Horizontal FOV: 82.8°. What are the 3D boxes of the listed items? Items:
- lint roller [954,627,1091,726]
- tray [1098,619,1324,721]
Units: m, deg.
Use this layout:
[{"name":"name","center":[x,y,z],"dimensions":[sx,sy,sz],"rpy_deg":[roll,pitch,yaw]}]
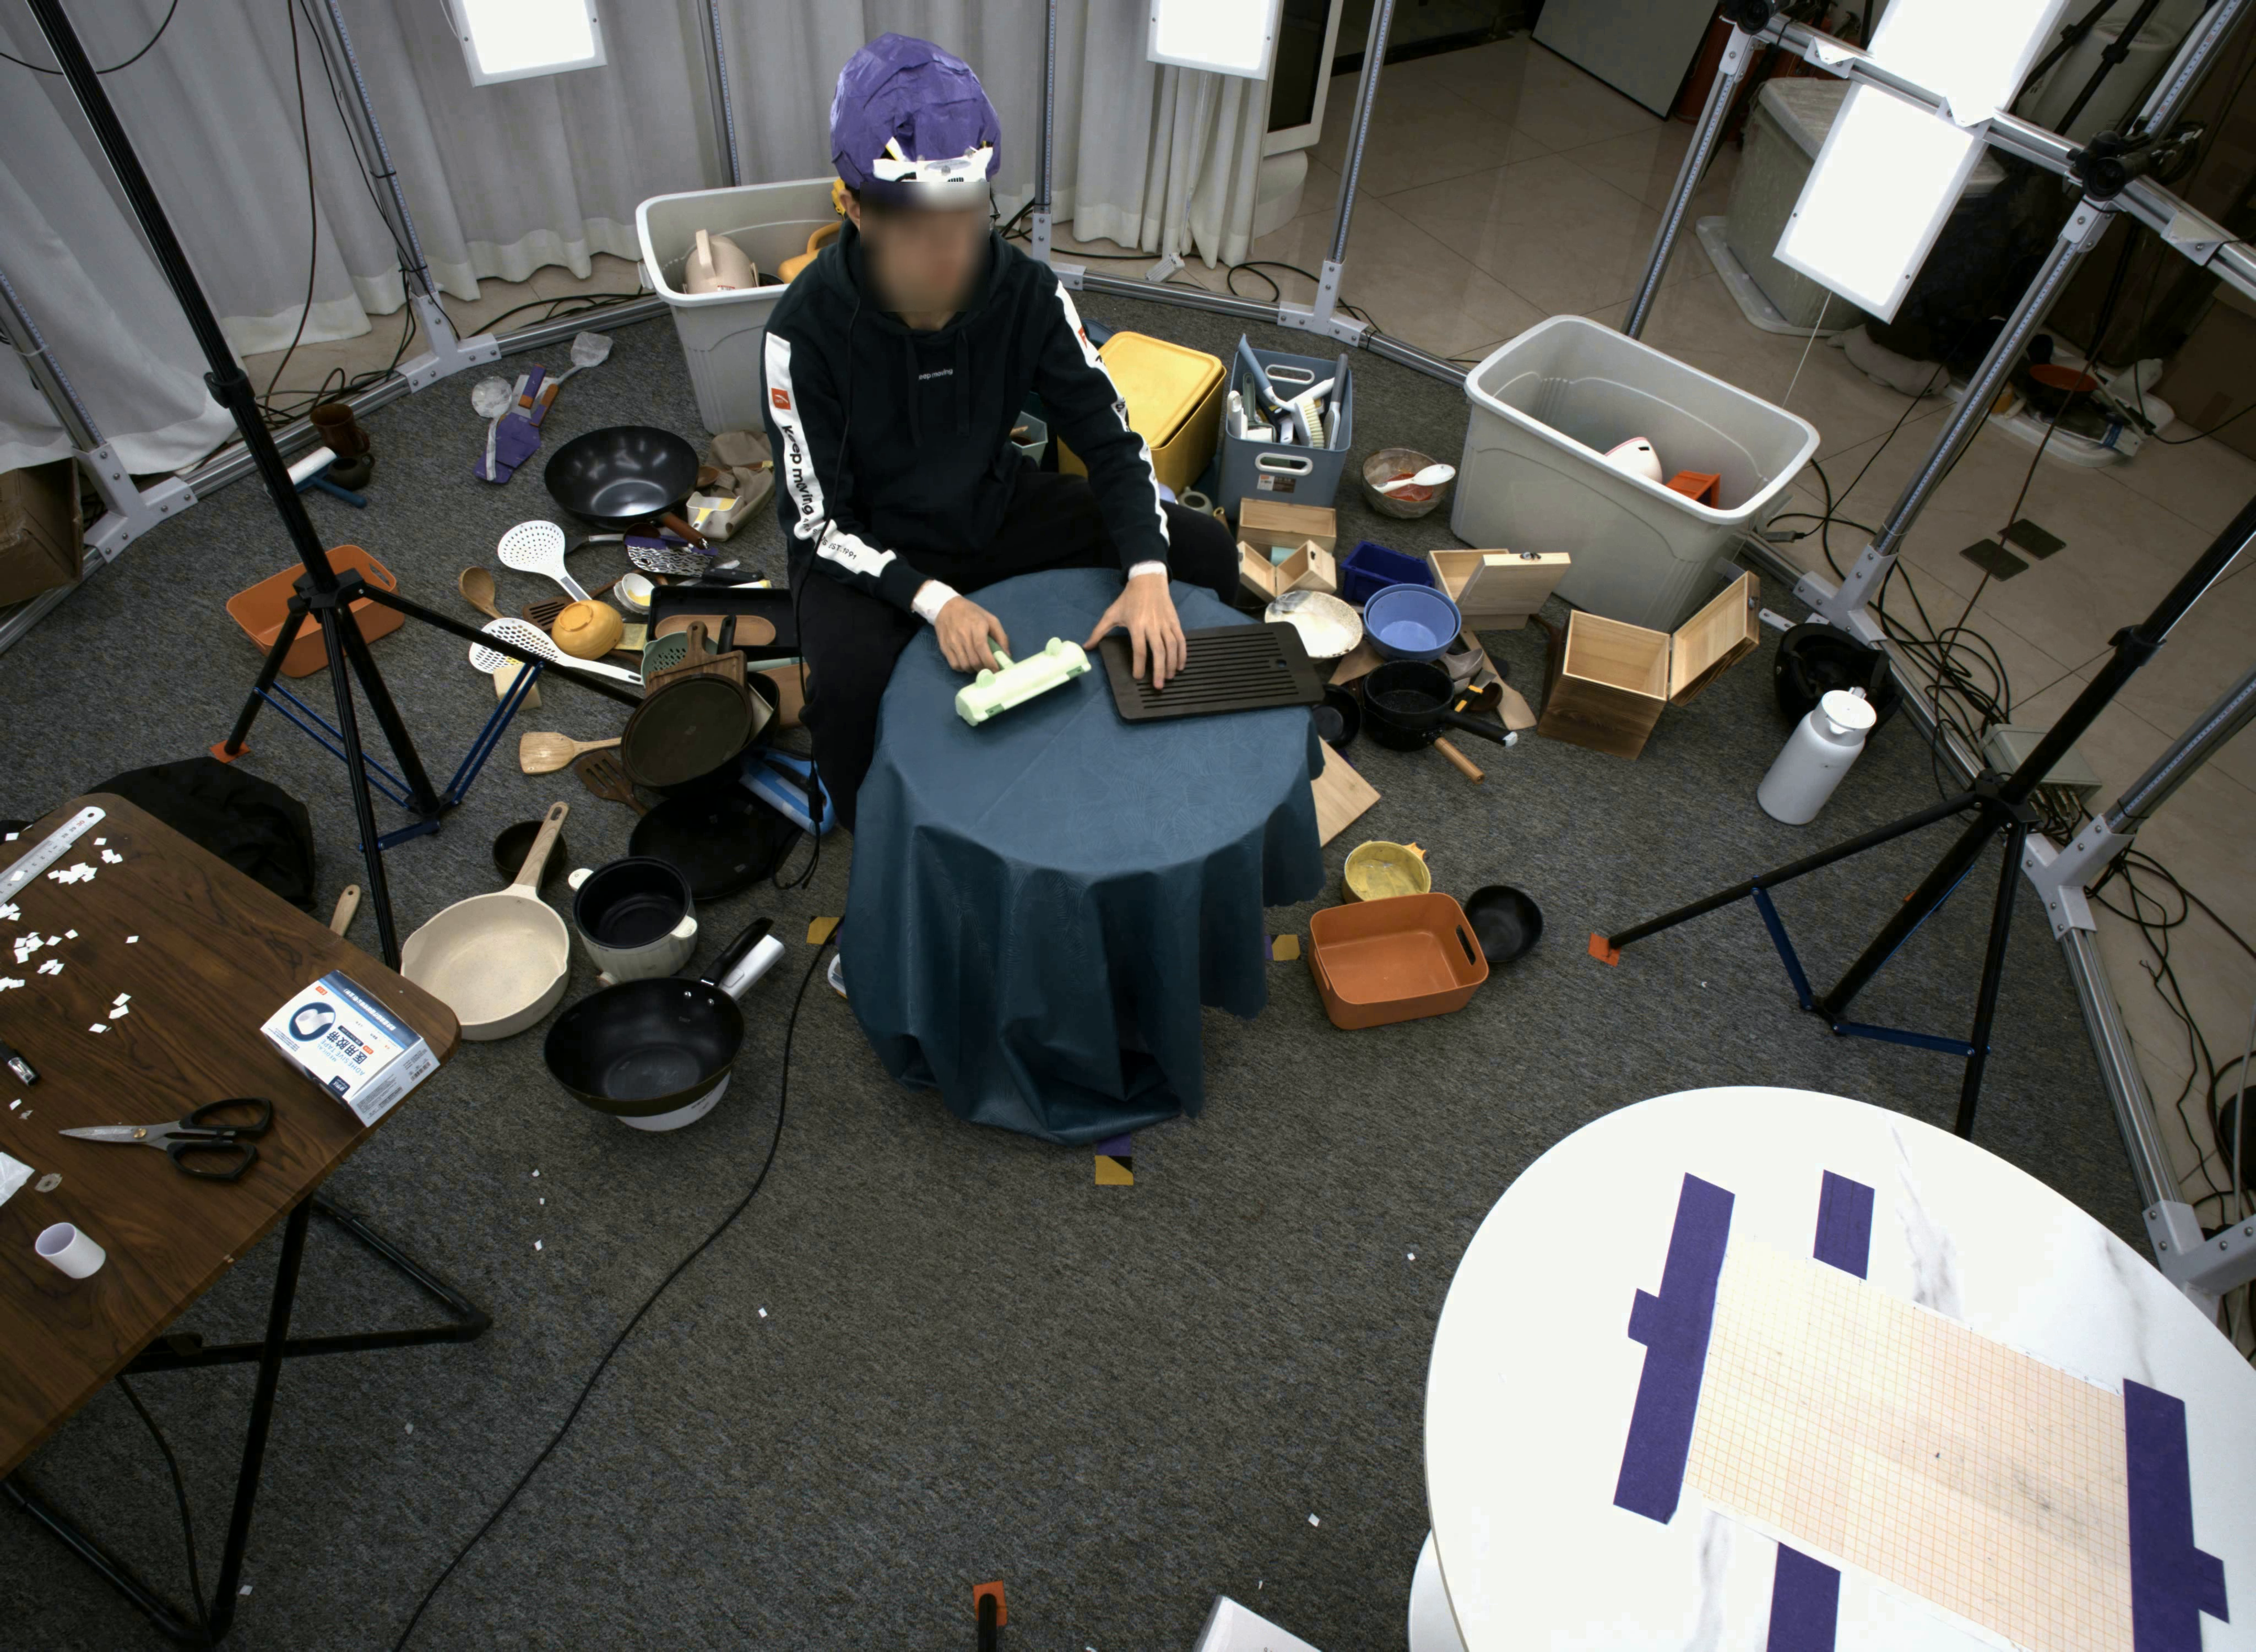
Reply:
[{"name":"lint roller","center":[-0.179,-0.242,1.814],"dimensions":[0.199,0.080,0.186],"rpy_deg":[-28,60,-25]},{"name":"tray","center":[0.119,-0.227,1.866],"dimensions":[0.305,0.018,0.174],"rpy_deg":[-7,50,-12]}]
